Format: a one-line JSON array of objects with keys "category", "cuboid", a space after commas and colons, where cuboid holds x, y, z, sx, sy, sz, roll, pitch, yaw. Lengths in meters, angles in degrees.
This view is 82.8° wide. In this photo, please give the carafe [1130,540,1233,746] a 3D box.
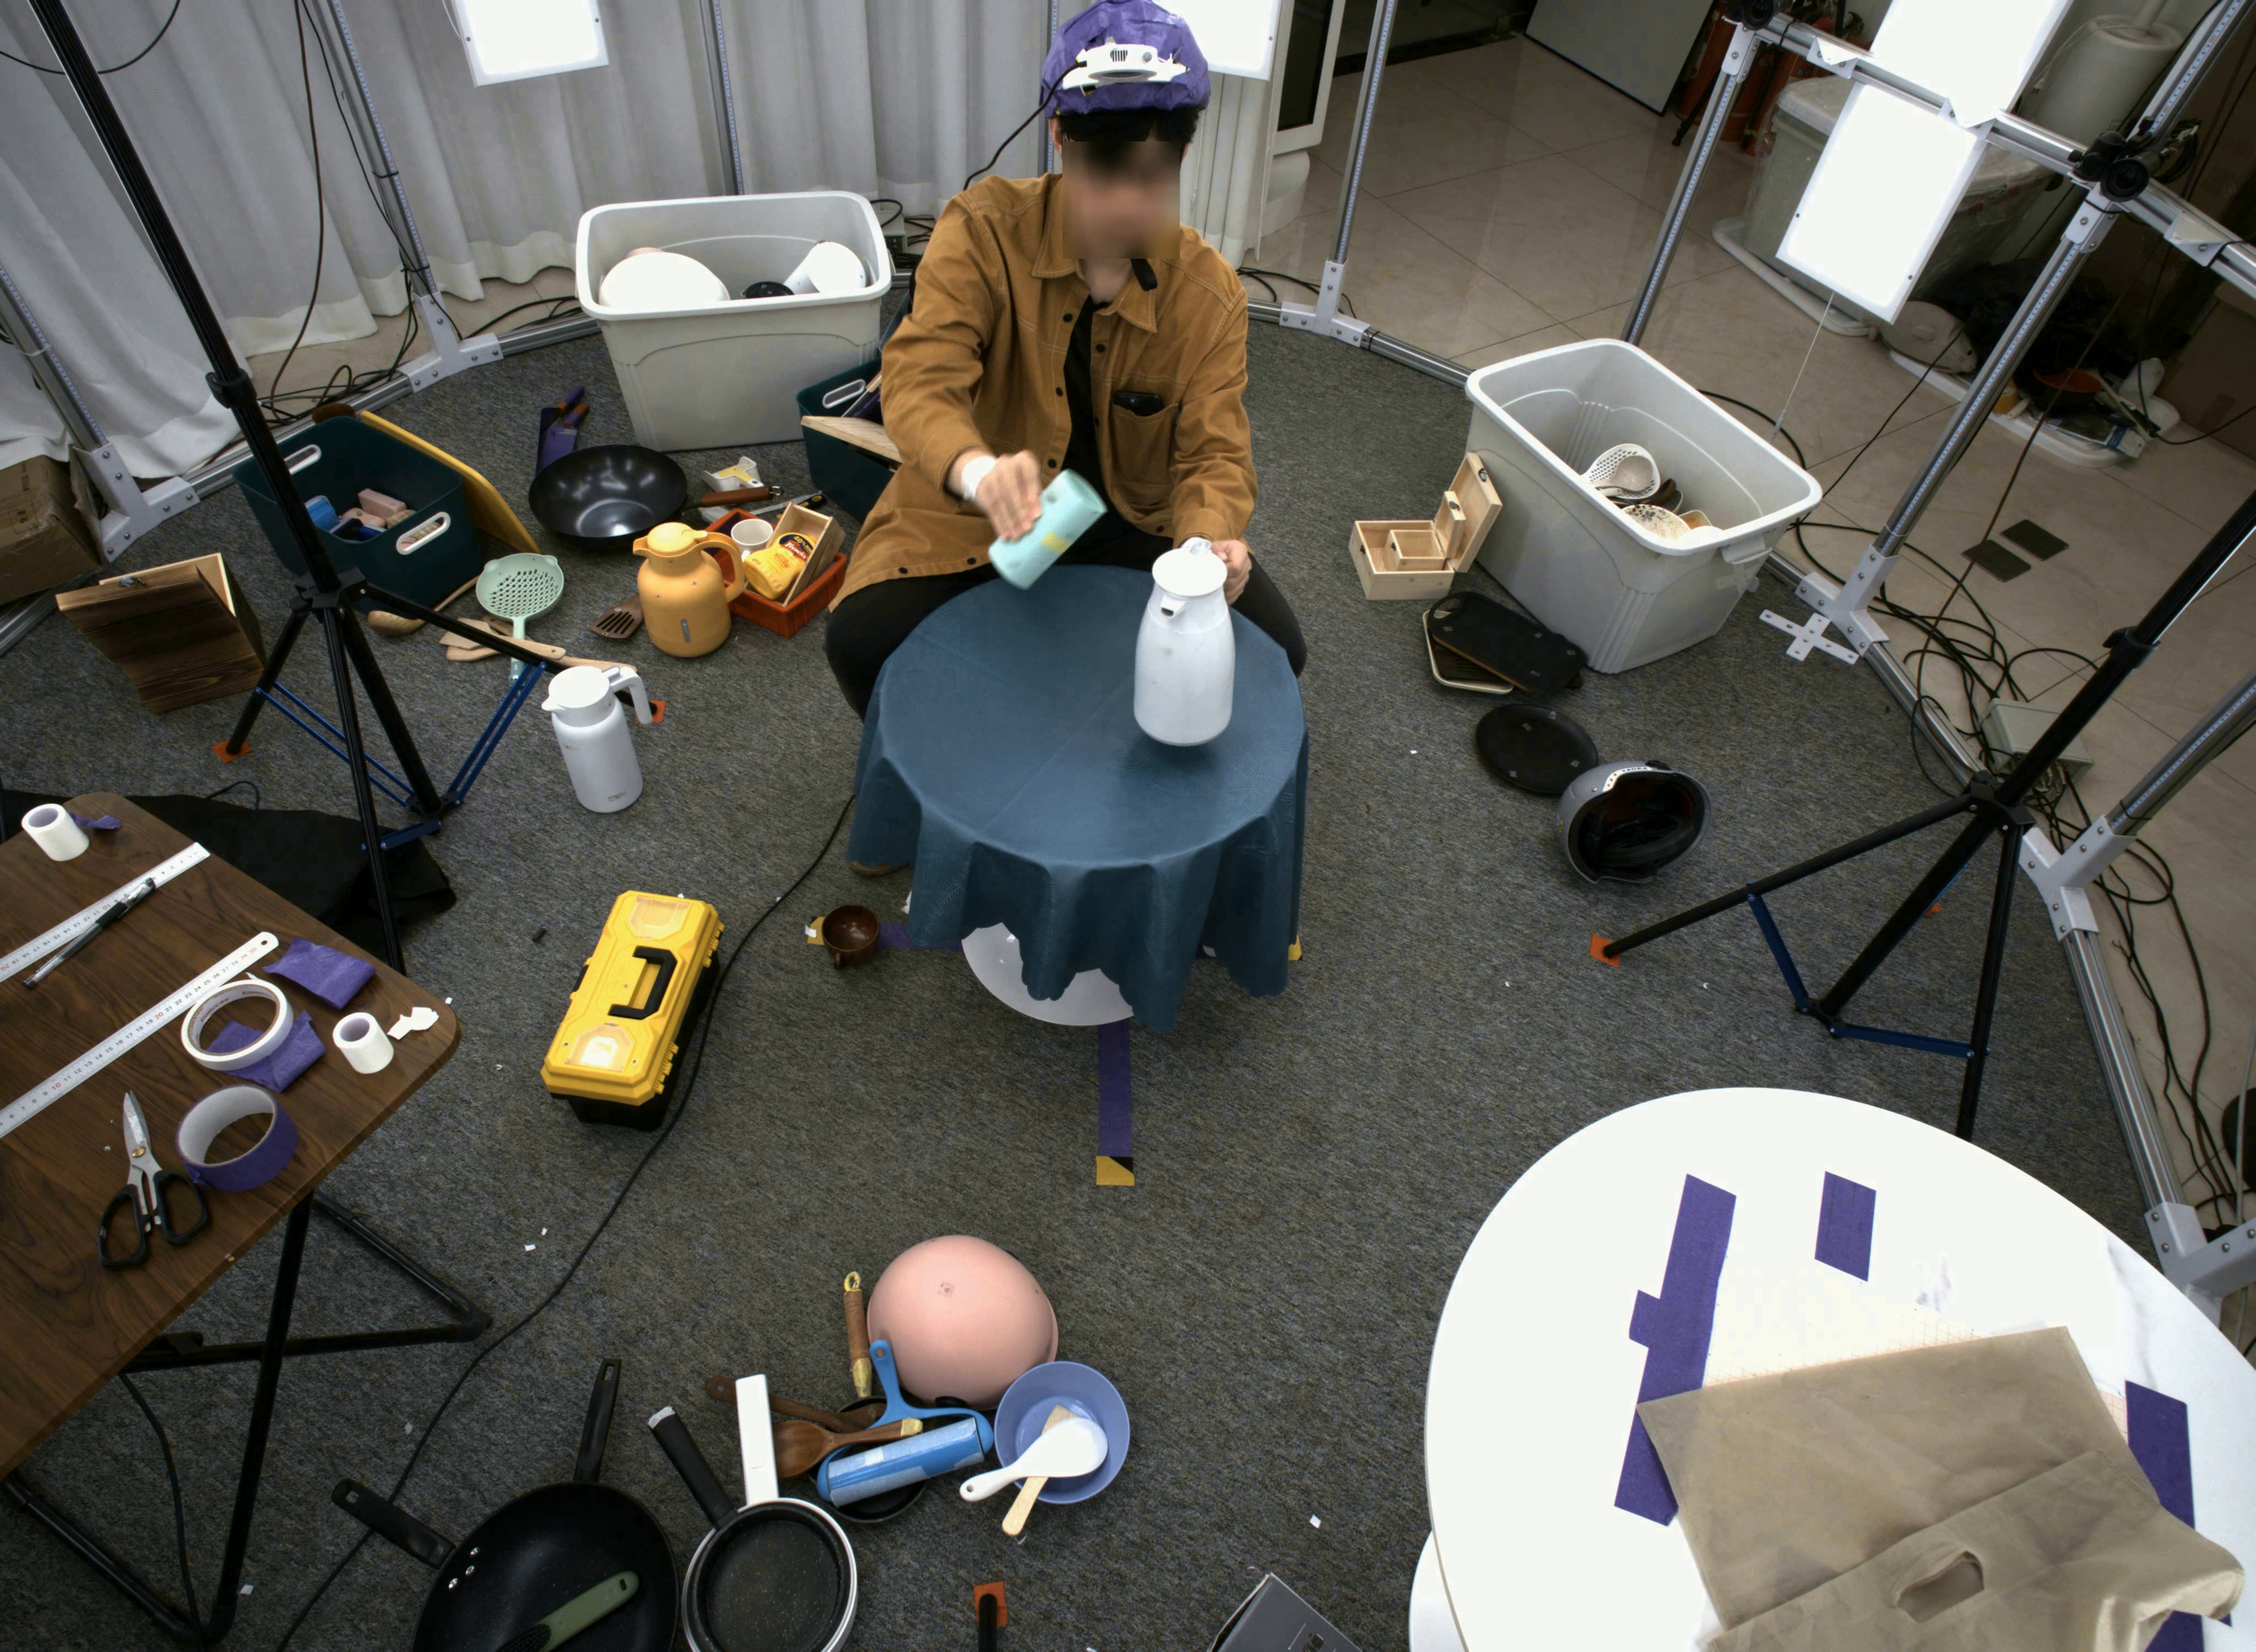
[{"category": "carafe", "cuboid": [0.080, -0.247, 1.655, 0.133, 0.242, 0.170, 22, 51, 17]}]

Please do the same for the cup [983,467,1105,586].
[{"category": "cup", "cuboid": [-0.096, -0.342, 1.474, 0.131, 0.065, 0.068, -38, 51, 18]}]
